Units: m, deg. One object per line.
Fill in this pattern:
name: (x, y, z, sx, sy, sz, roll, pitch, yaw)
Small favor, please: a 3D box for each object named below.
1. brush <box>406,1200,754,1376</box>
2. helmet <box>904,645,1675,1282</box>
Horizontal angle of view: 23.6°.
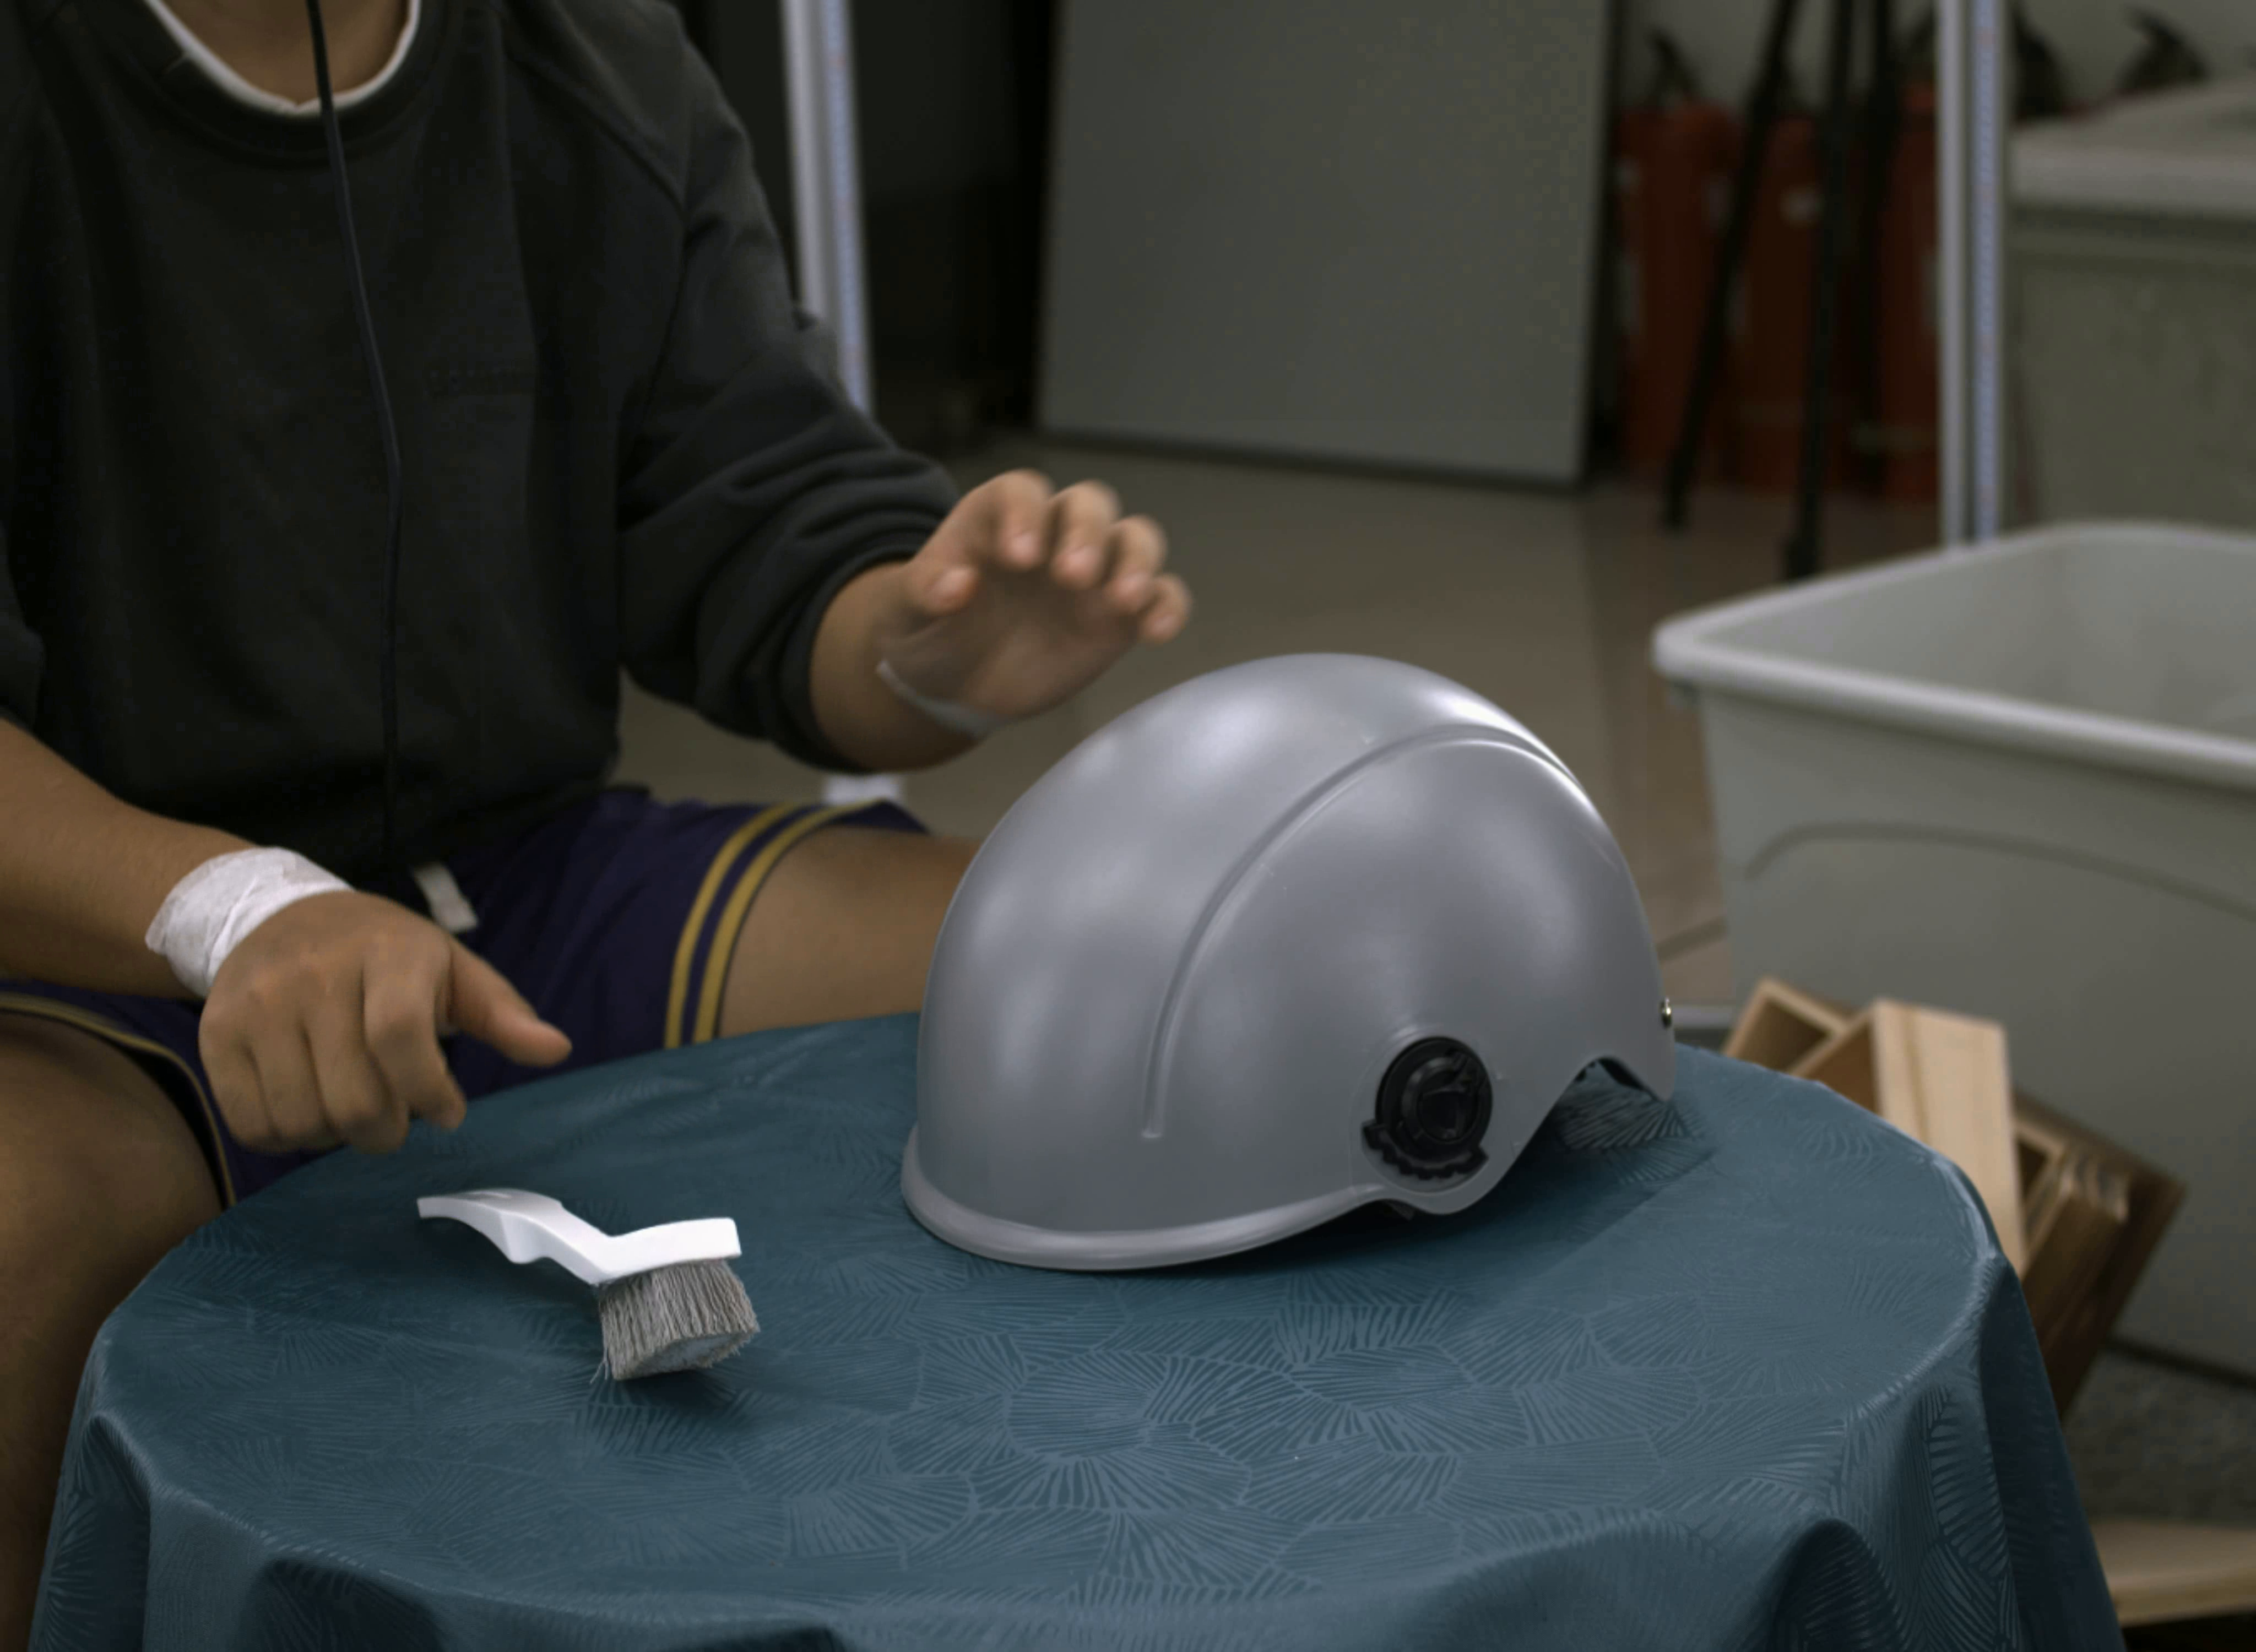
brush: (-0.174, 0.143, 1.683, 0.033, 0.051, 0.246, -6, 0, -26)
helmet: (0.047, 0.031, 1.777, 0.270, 0.170, 0.234, -18, 19, -39)
